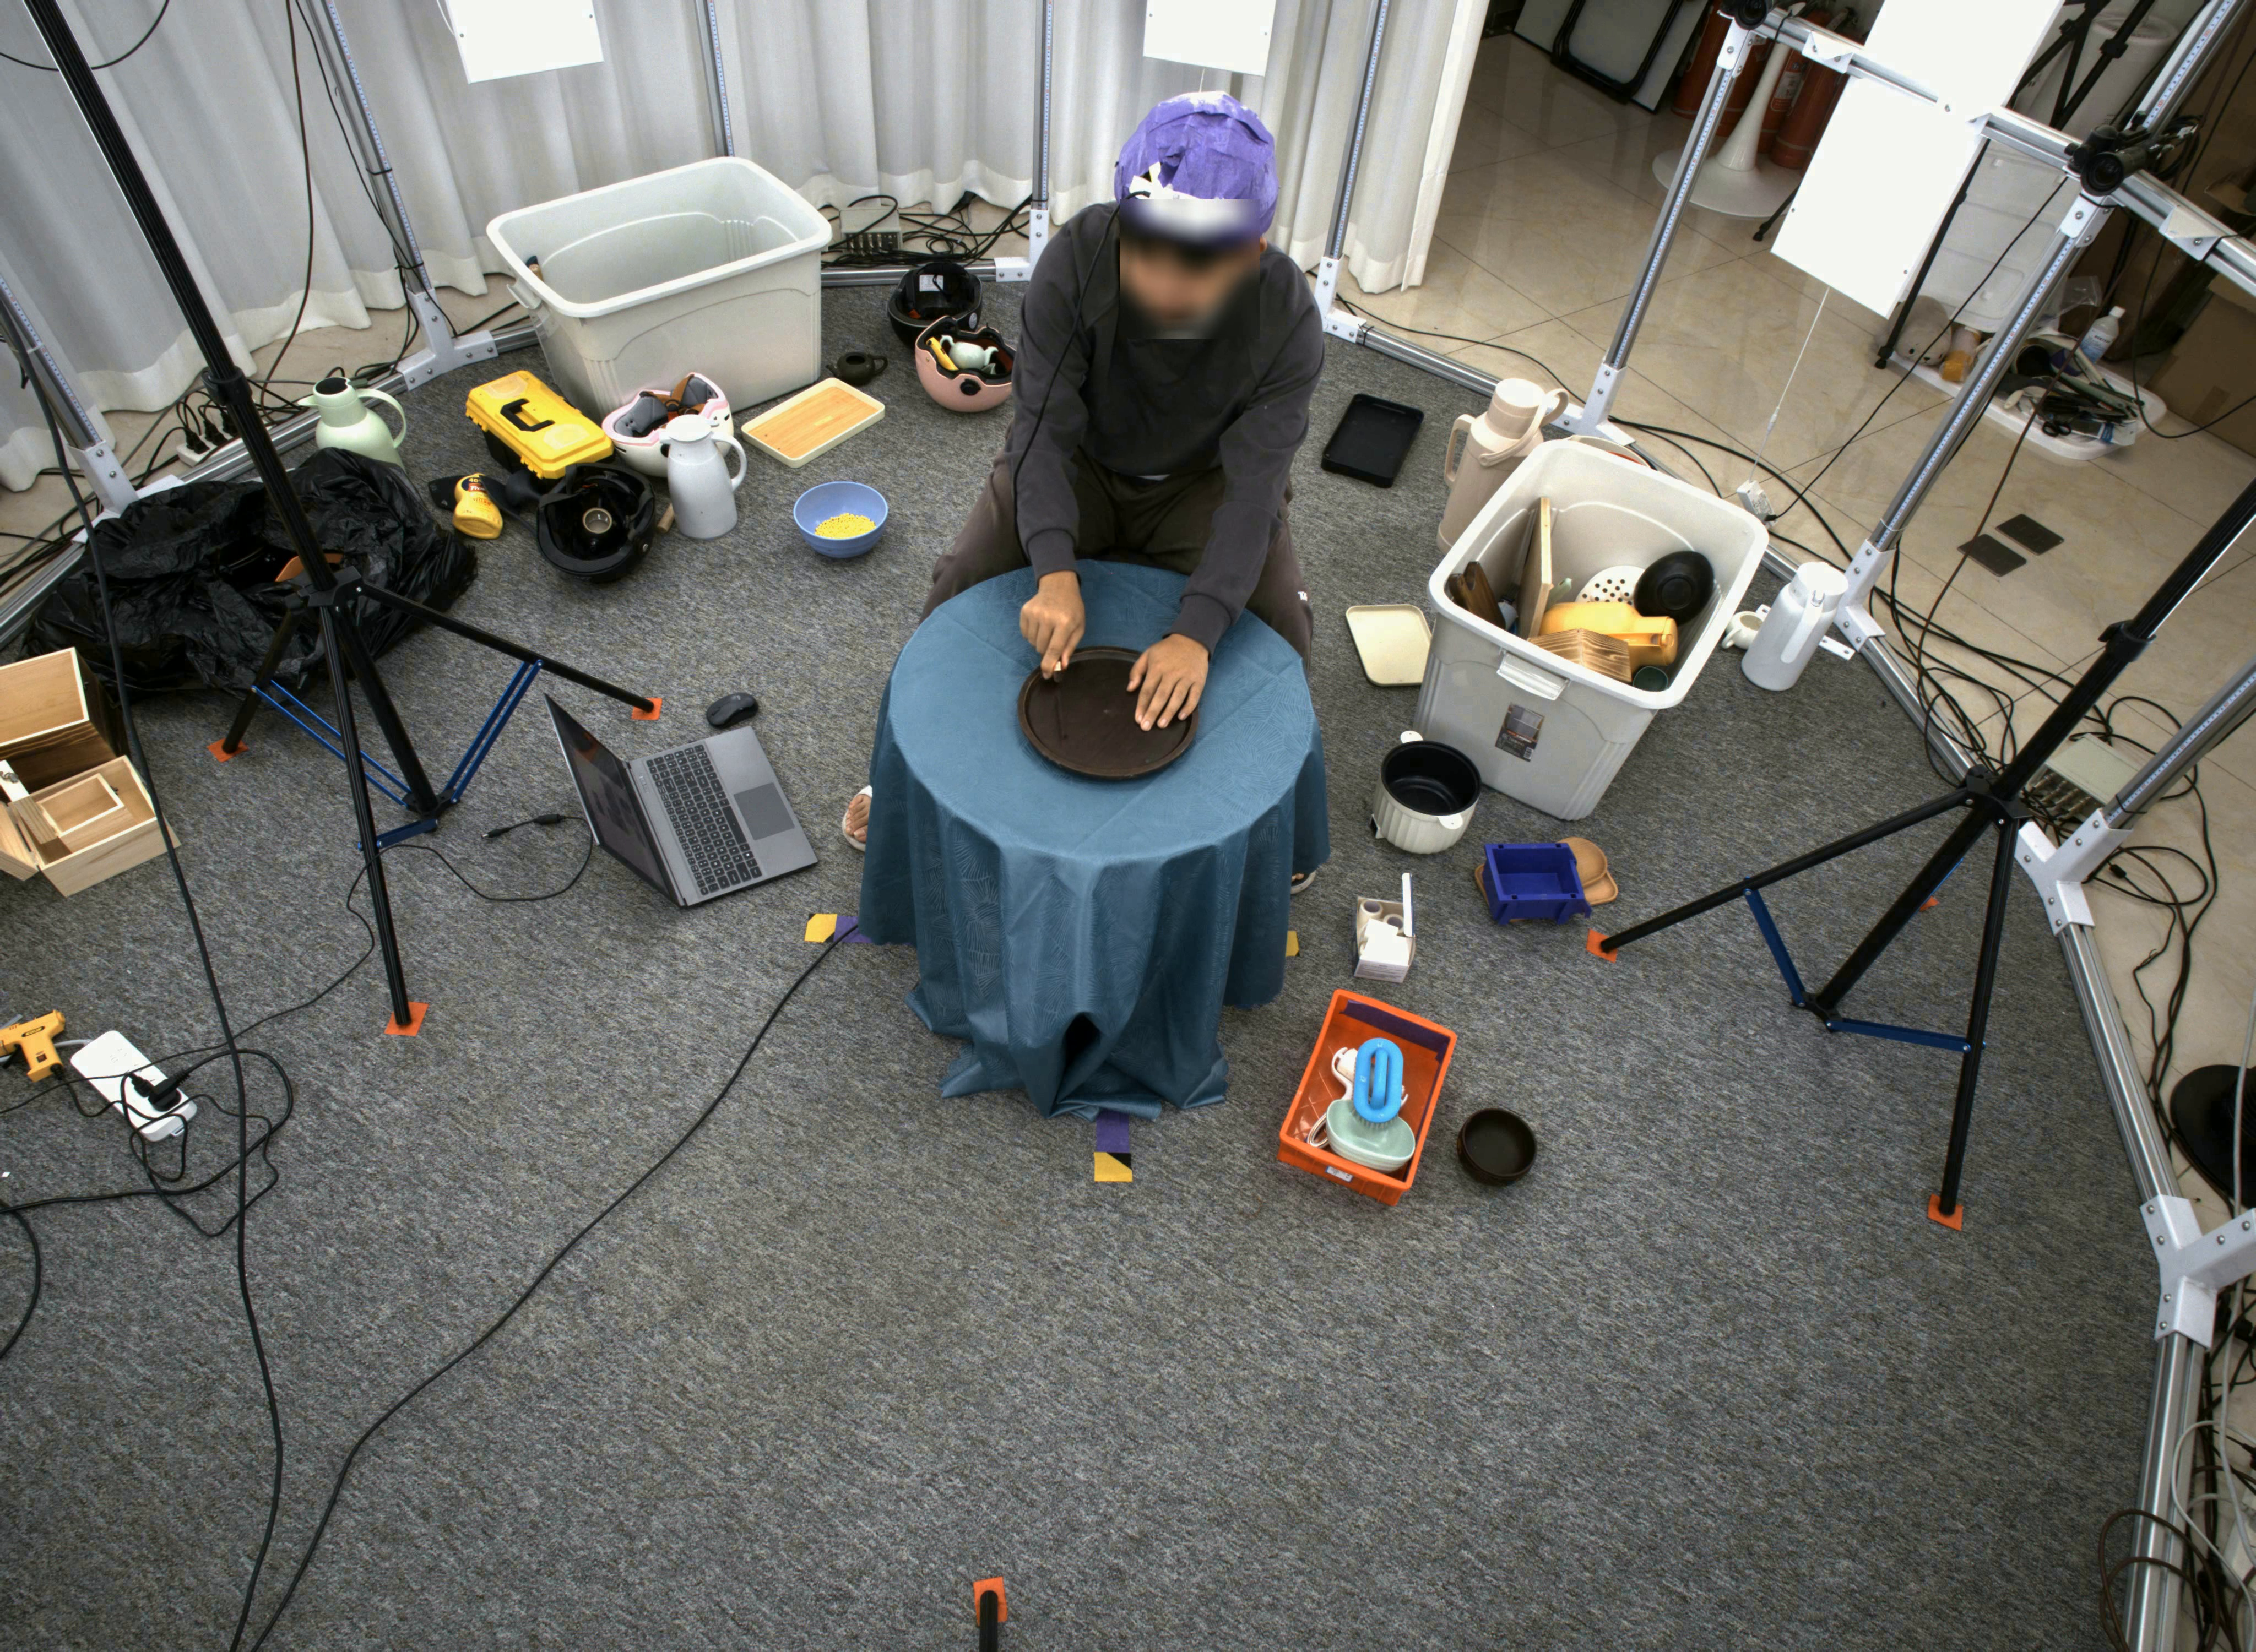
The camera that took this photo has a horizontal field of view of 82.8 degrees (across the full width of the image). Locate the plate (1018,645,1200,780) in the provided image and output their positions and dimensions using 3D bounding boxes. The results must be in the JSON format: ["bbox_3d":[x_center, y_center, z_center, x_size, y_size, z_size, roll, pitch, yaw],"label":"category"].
[{"bbox_3d":[-0.027,-0.159,1.787,0.254,0.028,0.261,1,48,-2],"label":"plate"}]

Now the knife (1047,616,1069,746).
[{"bbox_3d":[-0.097,-0.207,1.798,0.017,0.025,0.231,-5,55,-5],"label":"knife"}]
